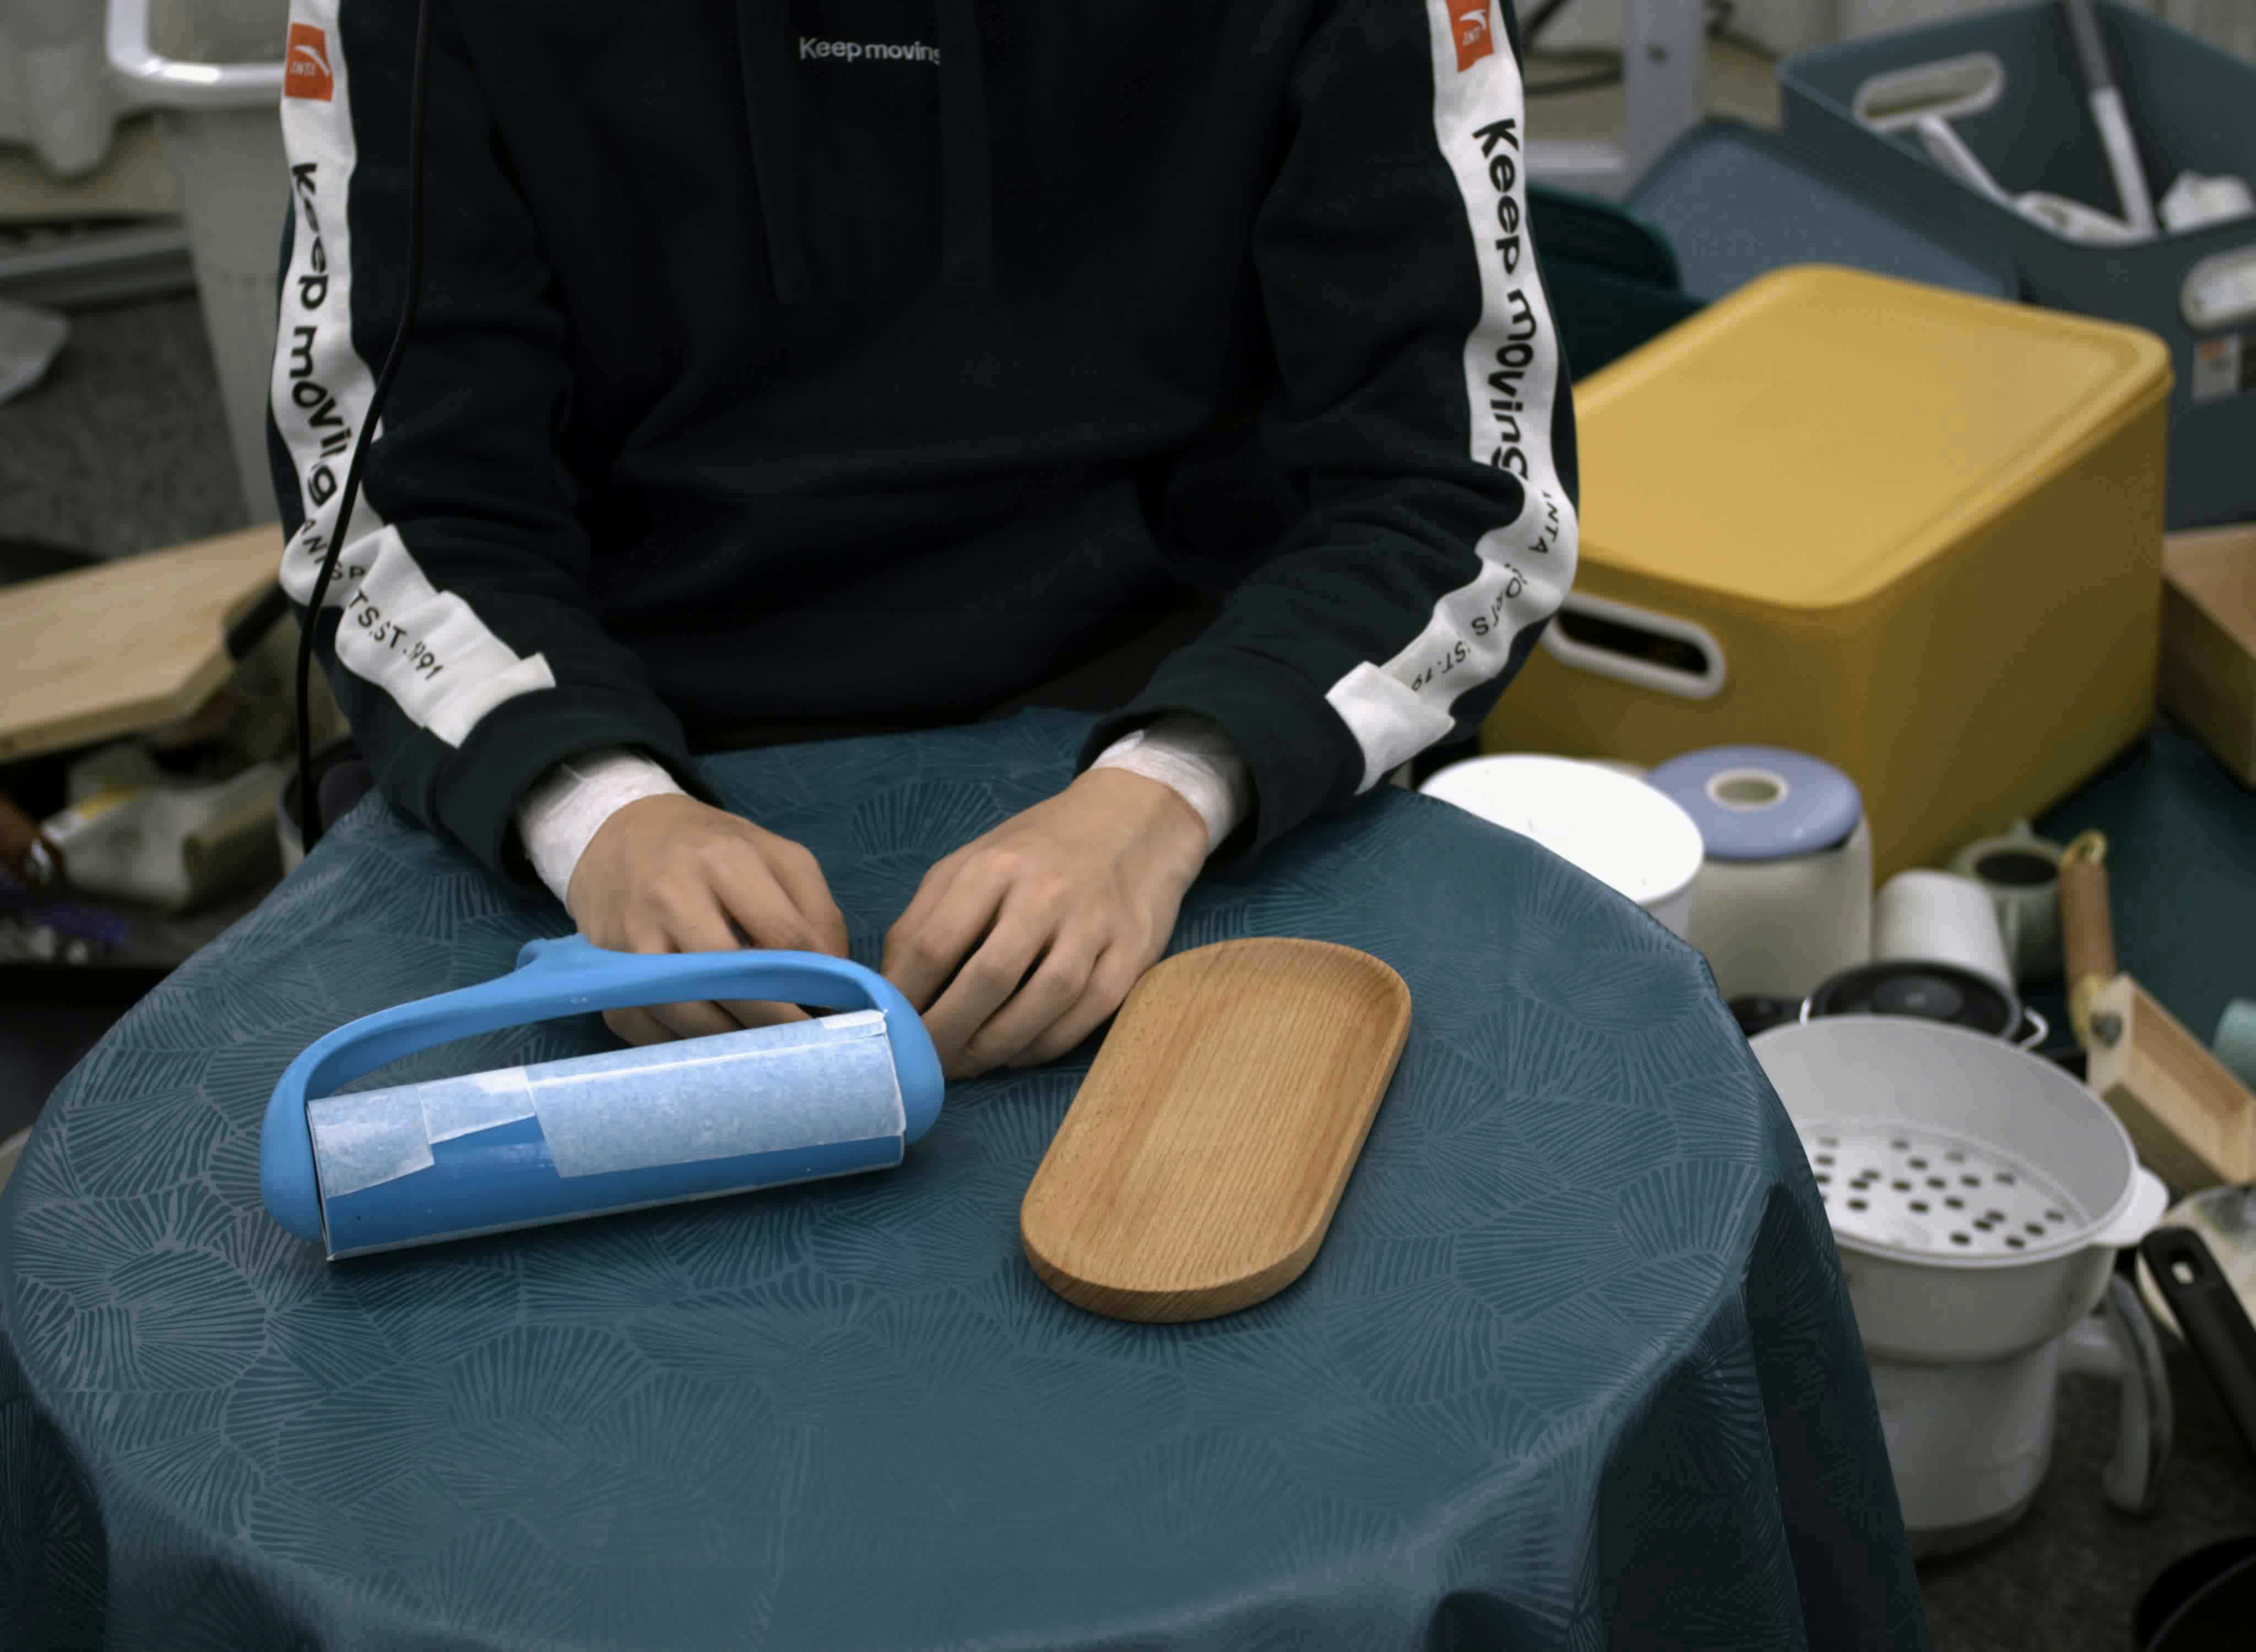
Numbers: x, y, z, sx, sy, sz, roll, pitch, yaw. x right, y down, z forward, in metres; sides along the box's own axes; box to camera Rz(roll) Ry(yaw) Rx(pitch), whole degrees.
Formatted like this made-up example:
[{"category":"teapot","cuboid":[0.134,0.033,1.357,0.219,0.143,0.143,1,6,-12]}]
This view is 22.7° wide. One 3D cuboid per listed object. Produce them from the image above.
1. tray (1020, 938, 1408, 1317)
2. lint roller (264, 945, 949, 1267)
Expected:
[{"category":"tray","cuboid":[0.031,0.099,1.885,0.101,0.020,0.235,5,27,12]},{"category":"lint roller","cuboid":[-0.188,0.076,1.906,0.229,0.067,0.182,-11,29,-13]}]
